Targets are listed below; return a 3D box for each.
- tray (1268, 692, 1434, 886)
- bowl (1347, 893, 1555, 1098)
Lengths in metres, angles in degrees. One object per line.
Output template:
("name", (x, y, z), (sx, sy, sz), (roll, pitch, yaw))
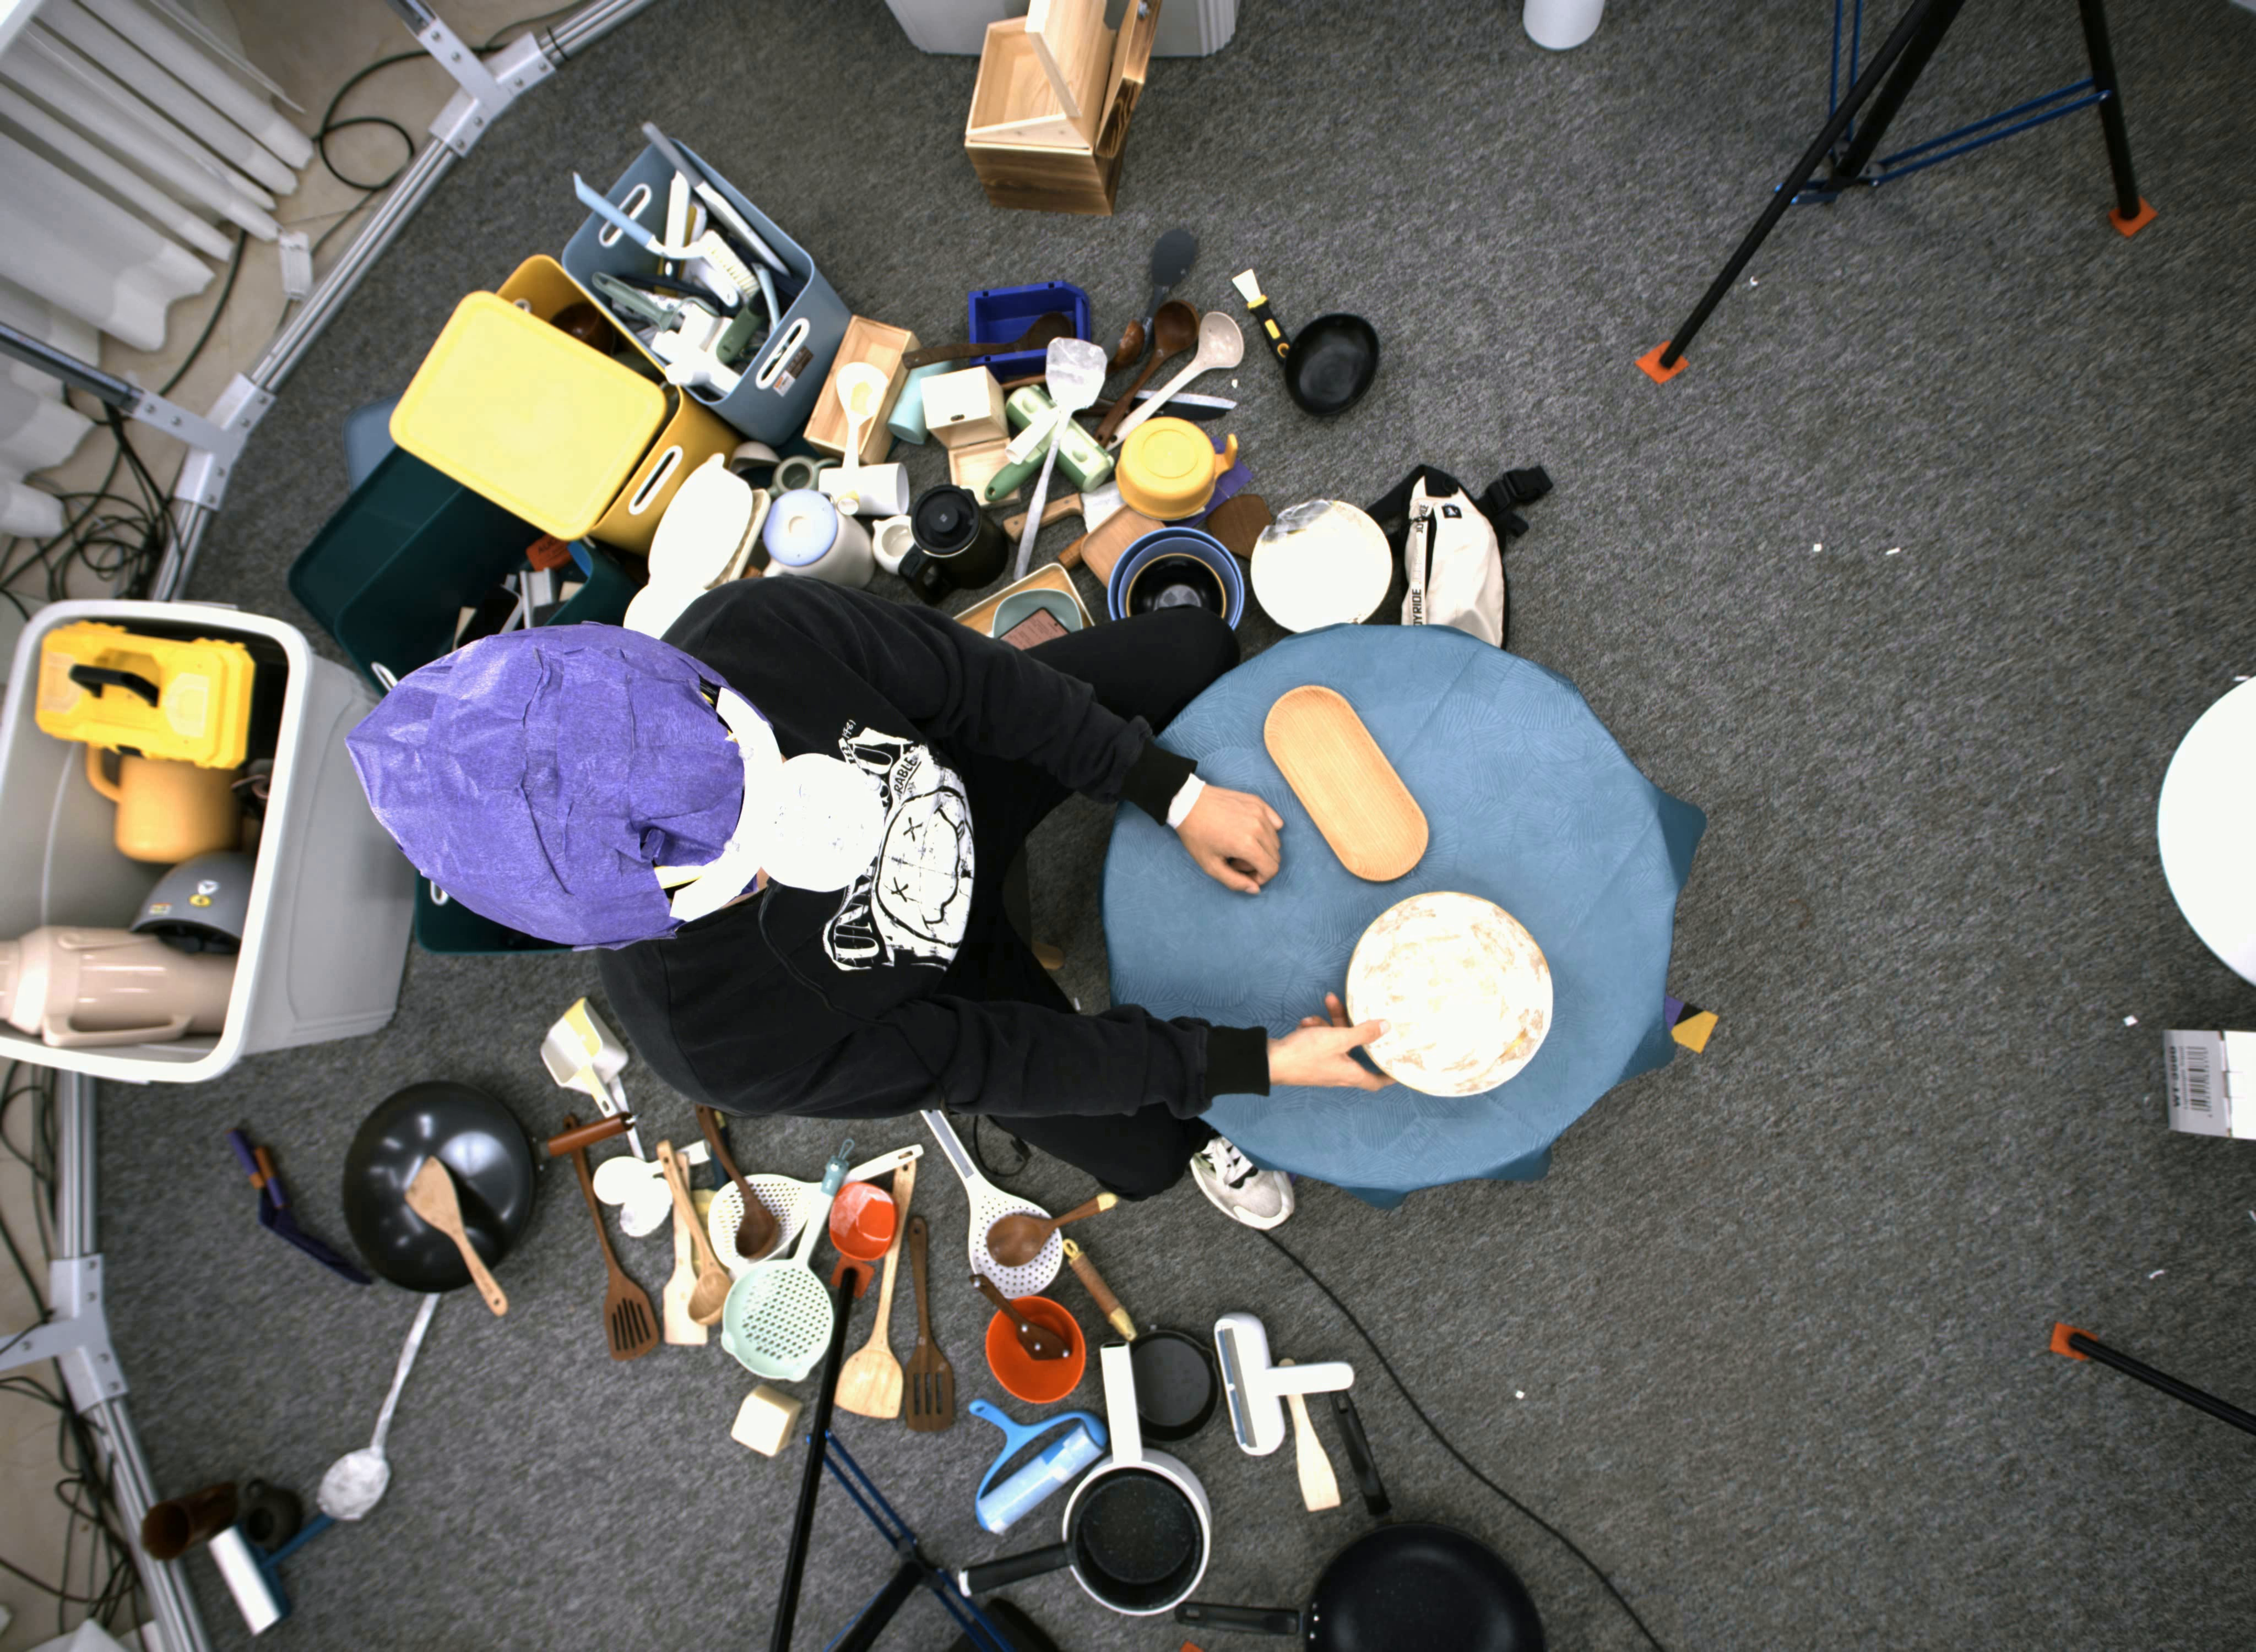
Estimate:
("tray", (0.237, -0.041, 1.471), (0.102, 0.020, 0.230), (-35, 83, 8))
("bowl", (0.324, 0.166, 1.402), (0.215, 0.094, 0.214), (-1, 86, 11))
